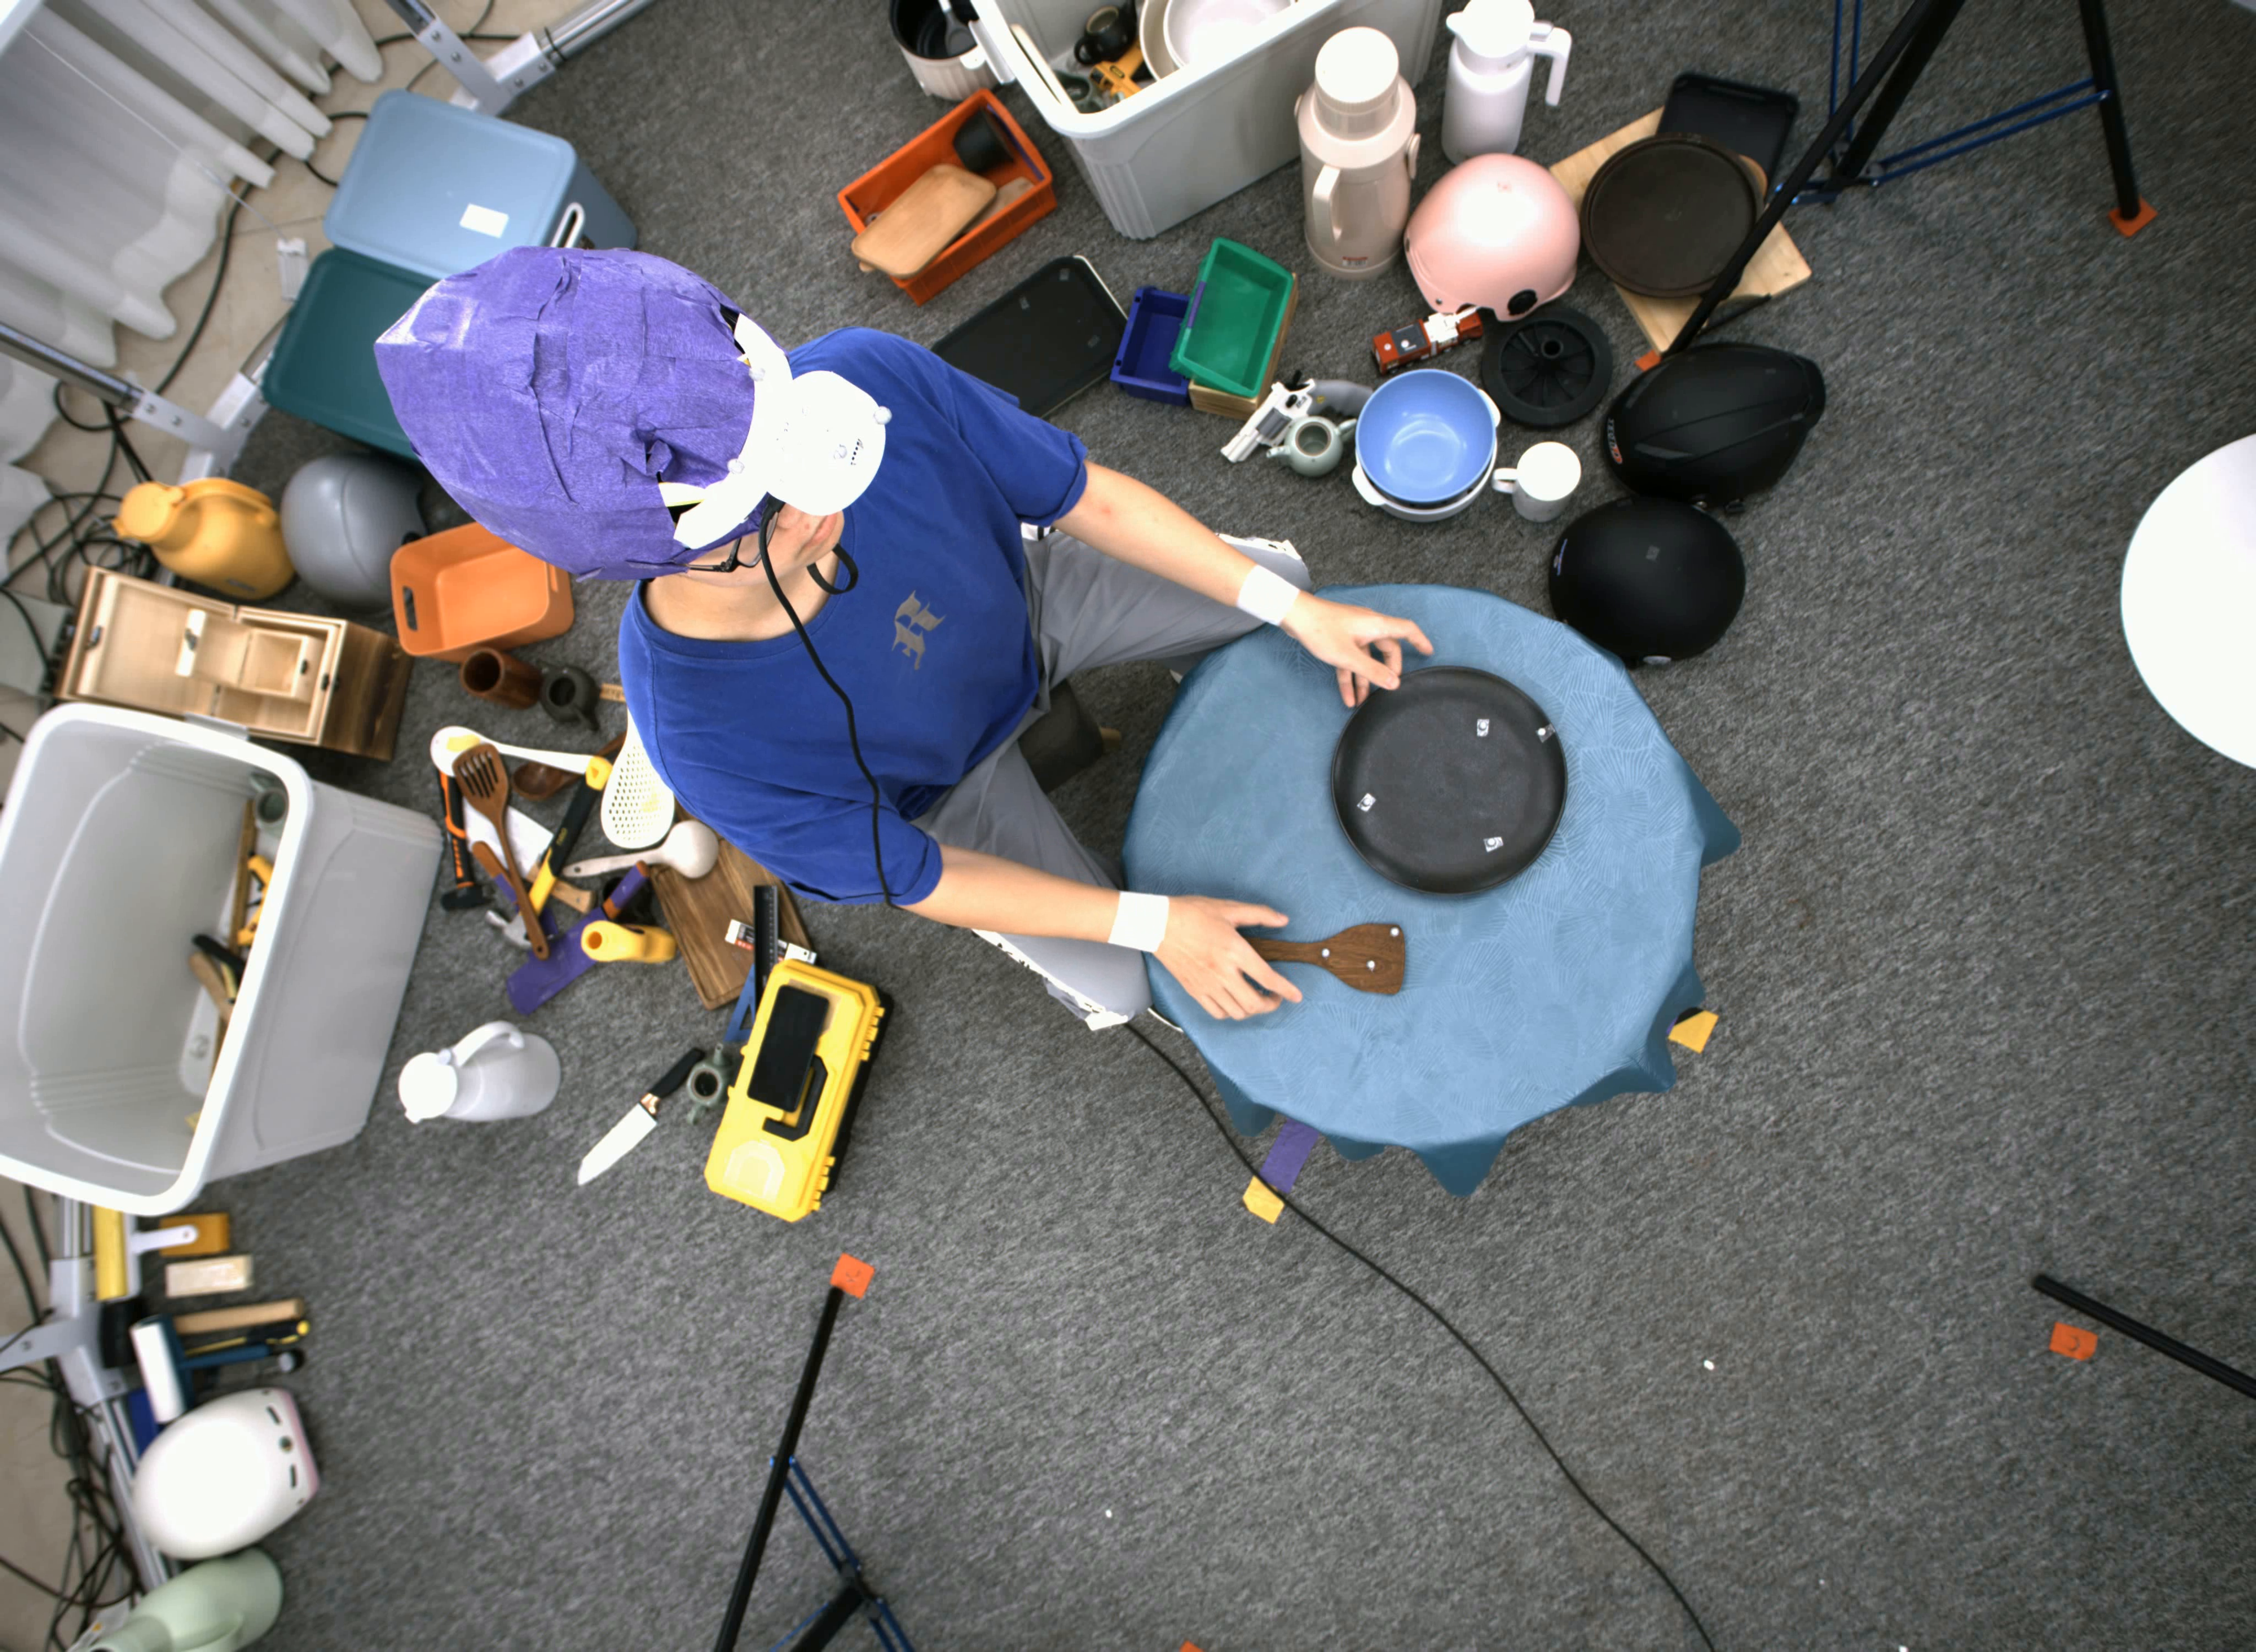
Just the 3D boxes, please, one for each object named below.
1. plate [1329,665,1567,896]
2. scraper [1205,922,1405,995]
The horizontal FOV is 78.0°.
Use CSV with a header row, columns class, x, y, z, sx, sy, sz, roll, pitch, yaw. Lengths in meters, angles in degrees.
class,x,y,z,sx,sy,sz,roll,pitch,yaw
plate,0.334,-0.049,1.440,0.245,0.023,0.243,-1,87,11
scraper,0.186,0.132,1.466,0.212,0.011,0.075,3,87,12
